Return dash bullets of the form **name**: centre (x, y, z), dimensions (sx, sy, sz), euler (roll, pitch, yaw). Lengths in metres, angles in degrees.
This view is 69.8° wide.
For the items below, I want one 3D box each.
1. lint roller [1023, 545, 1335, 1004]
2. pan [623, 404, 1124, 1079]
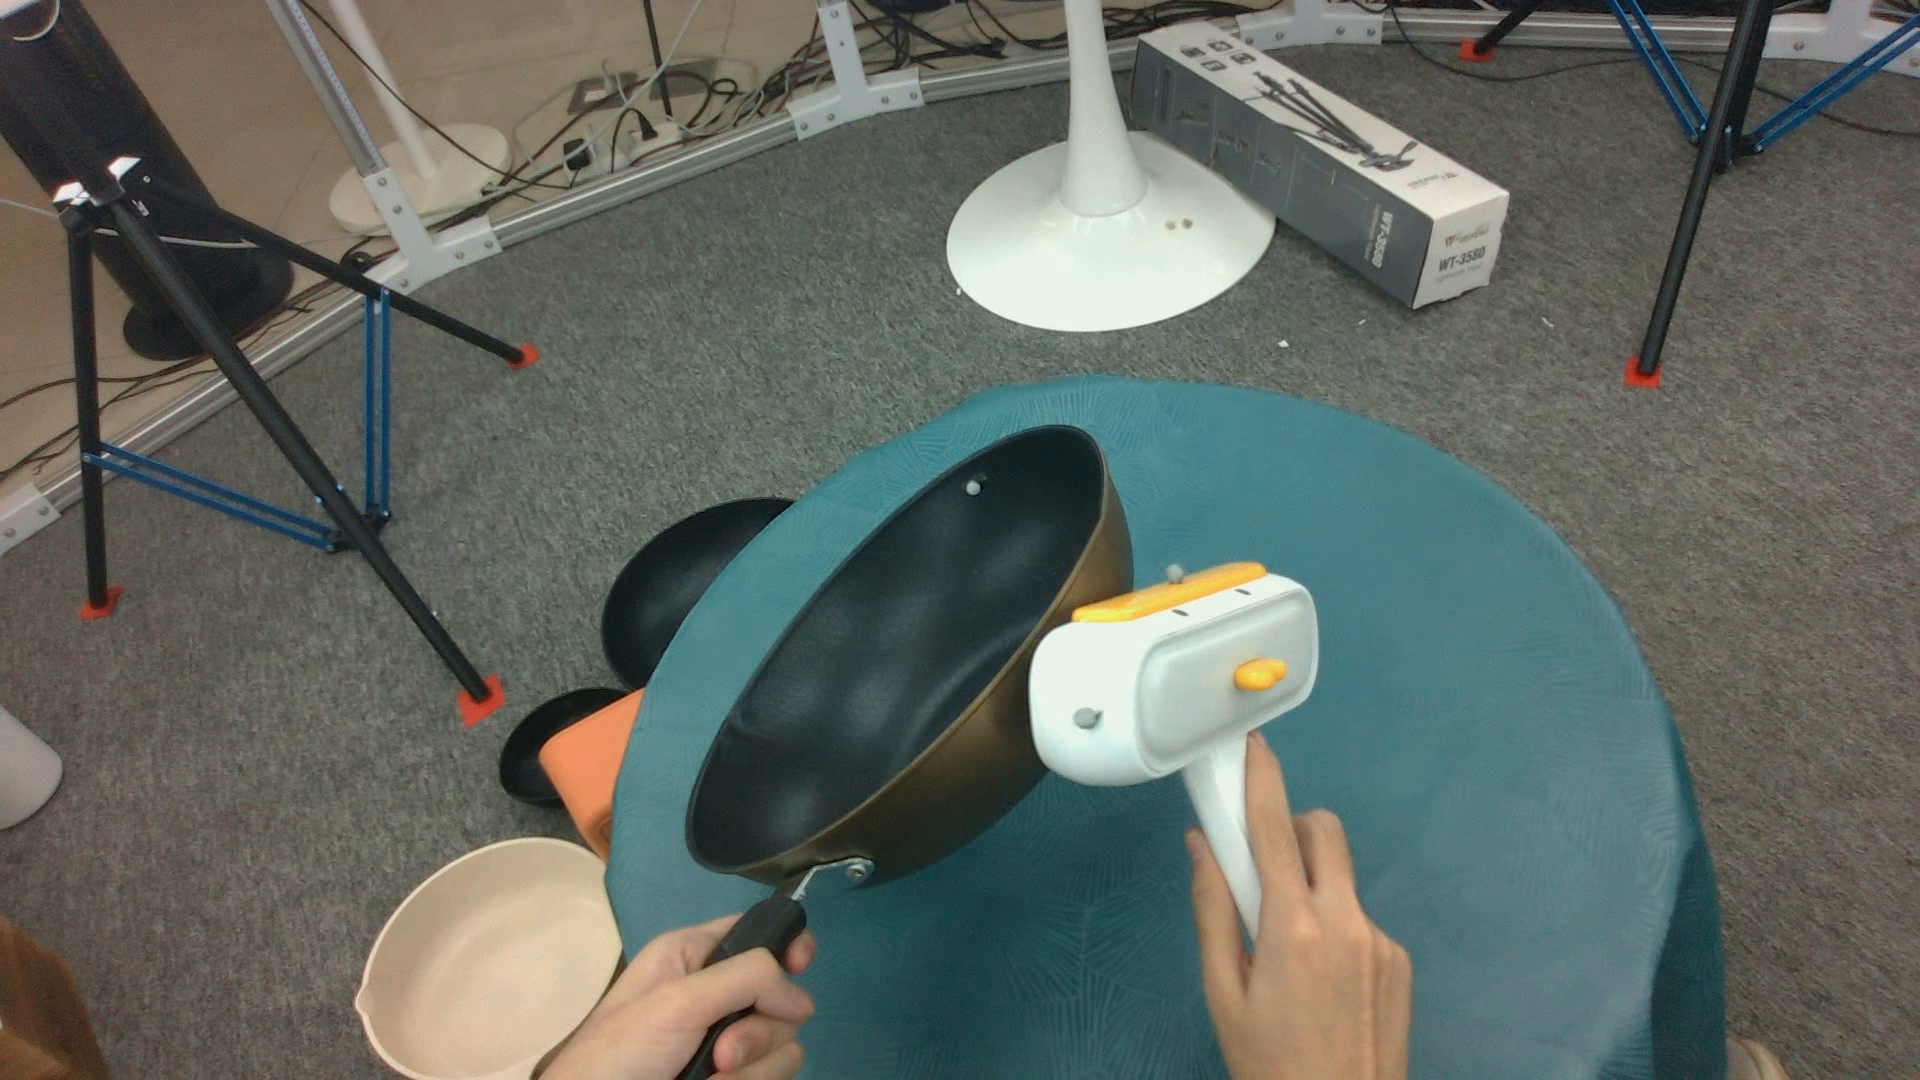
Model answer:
- **lint roller**: centre (0.111, 0.106, 0.595), dimensions (0.074, 0.192, 0.193), euler (-12, 3, 32)
- **pan**: centre (-0.044, 0.121, 0.624), dimensions (0.287, 0.087, 0.466), euler (-29, 26, 39)
